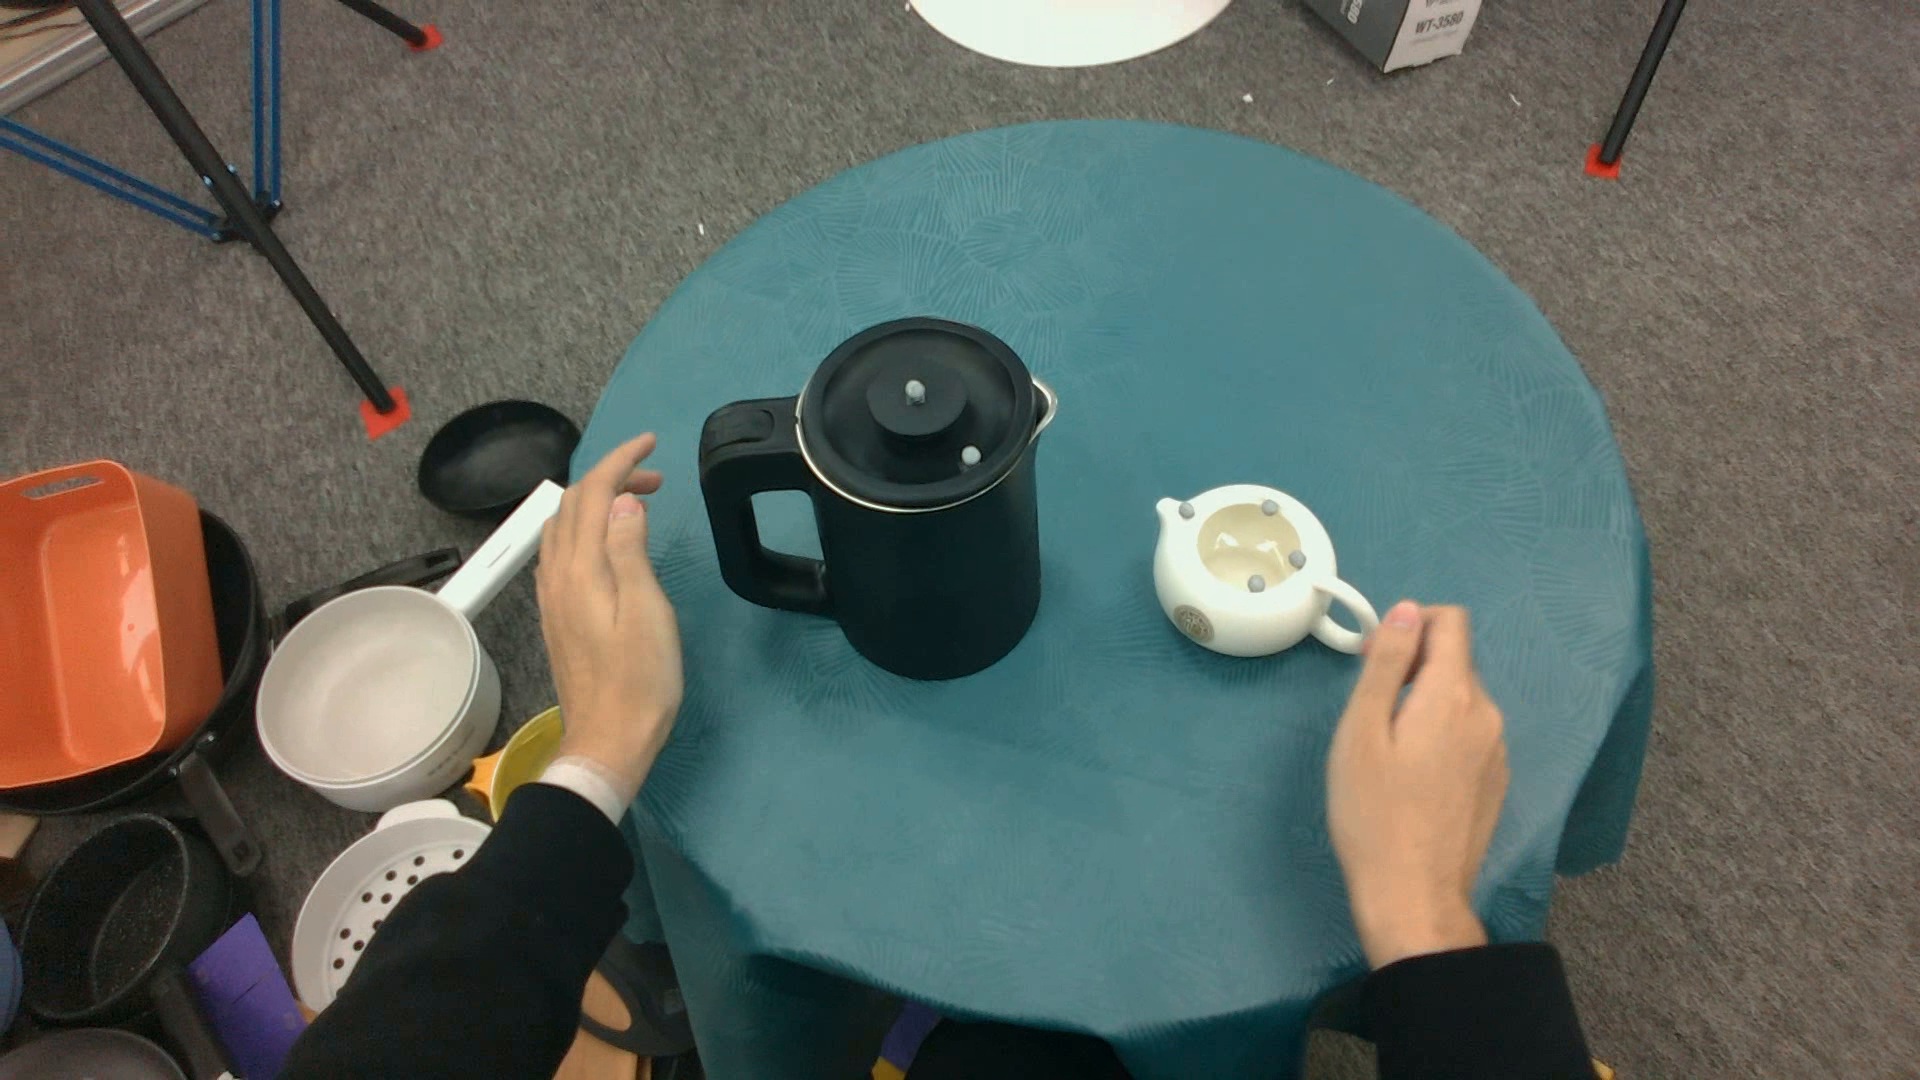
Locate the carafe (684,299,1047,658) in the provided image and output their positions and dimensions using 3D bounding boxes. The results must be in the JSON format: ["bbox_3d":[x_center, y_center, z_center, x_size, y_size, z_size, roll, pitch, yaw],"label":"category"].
[{"bbox_3d":[-0.046,-0.025,0.677,0.171,0.172,0.115,-5,60,-3],"label":"carafe"}]

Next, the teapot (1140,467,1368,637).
[{"bbox_3d":[0.150,0.010,0.712,0.127,0.056,0.094,21,58,15],"label":"teapot"}]
